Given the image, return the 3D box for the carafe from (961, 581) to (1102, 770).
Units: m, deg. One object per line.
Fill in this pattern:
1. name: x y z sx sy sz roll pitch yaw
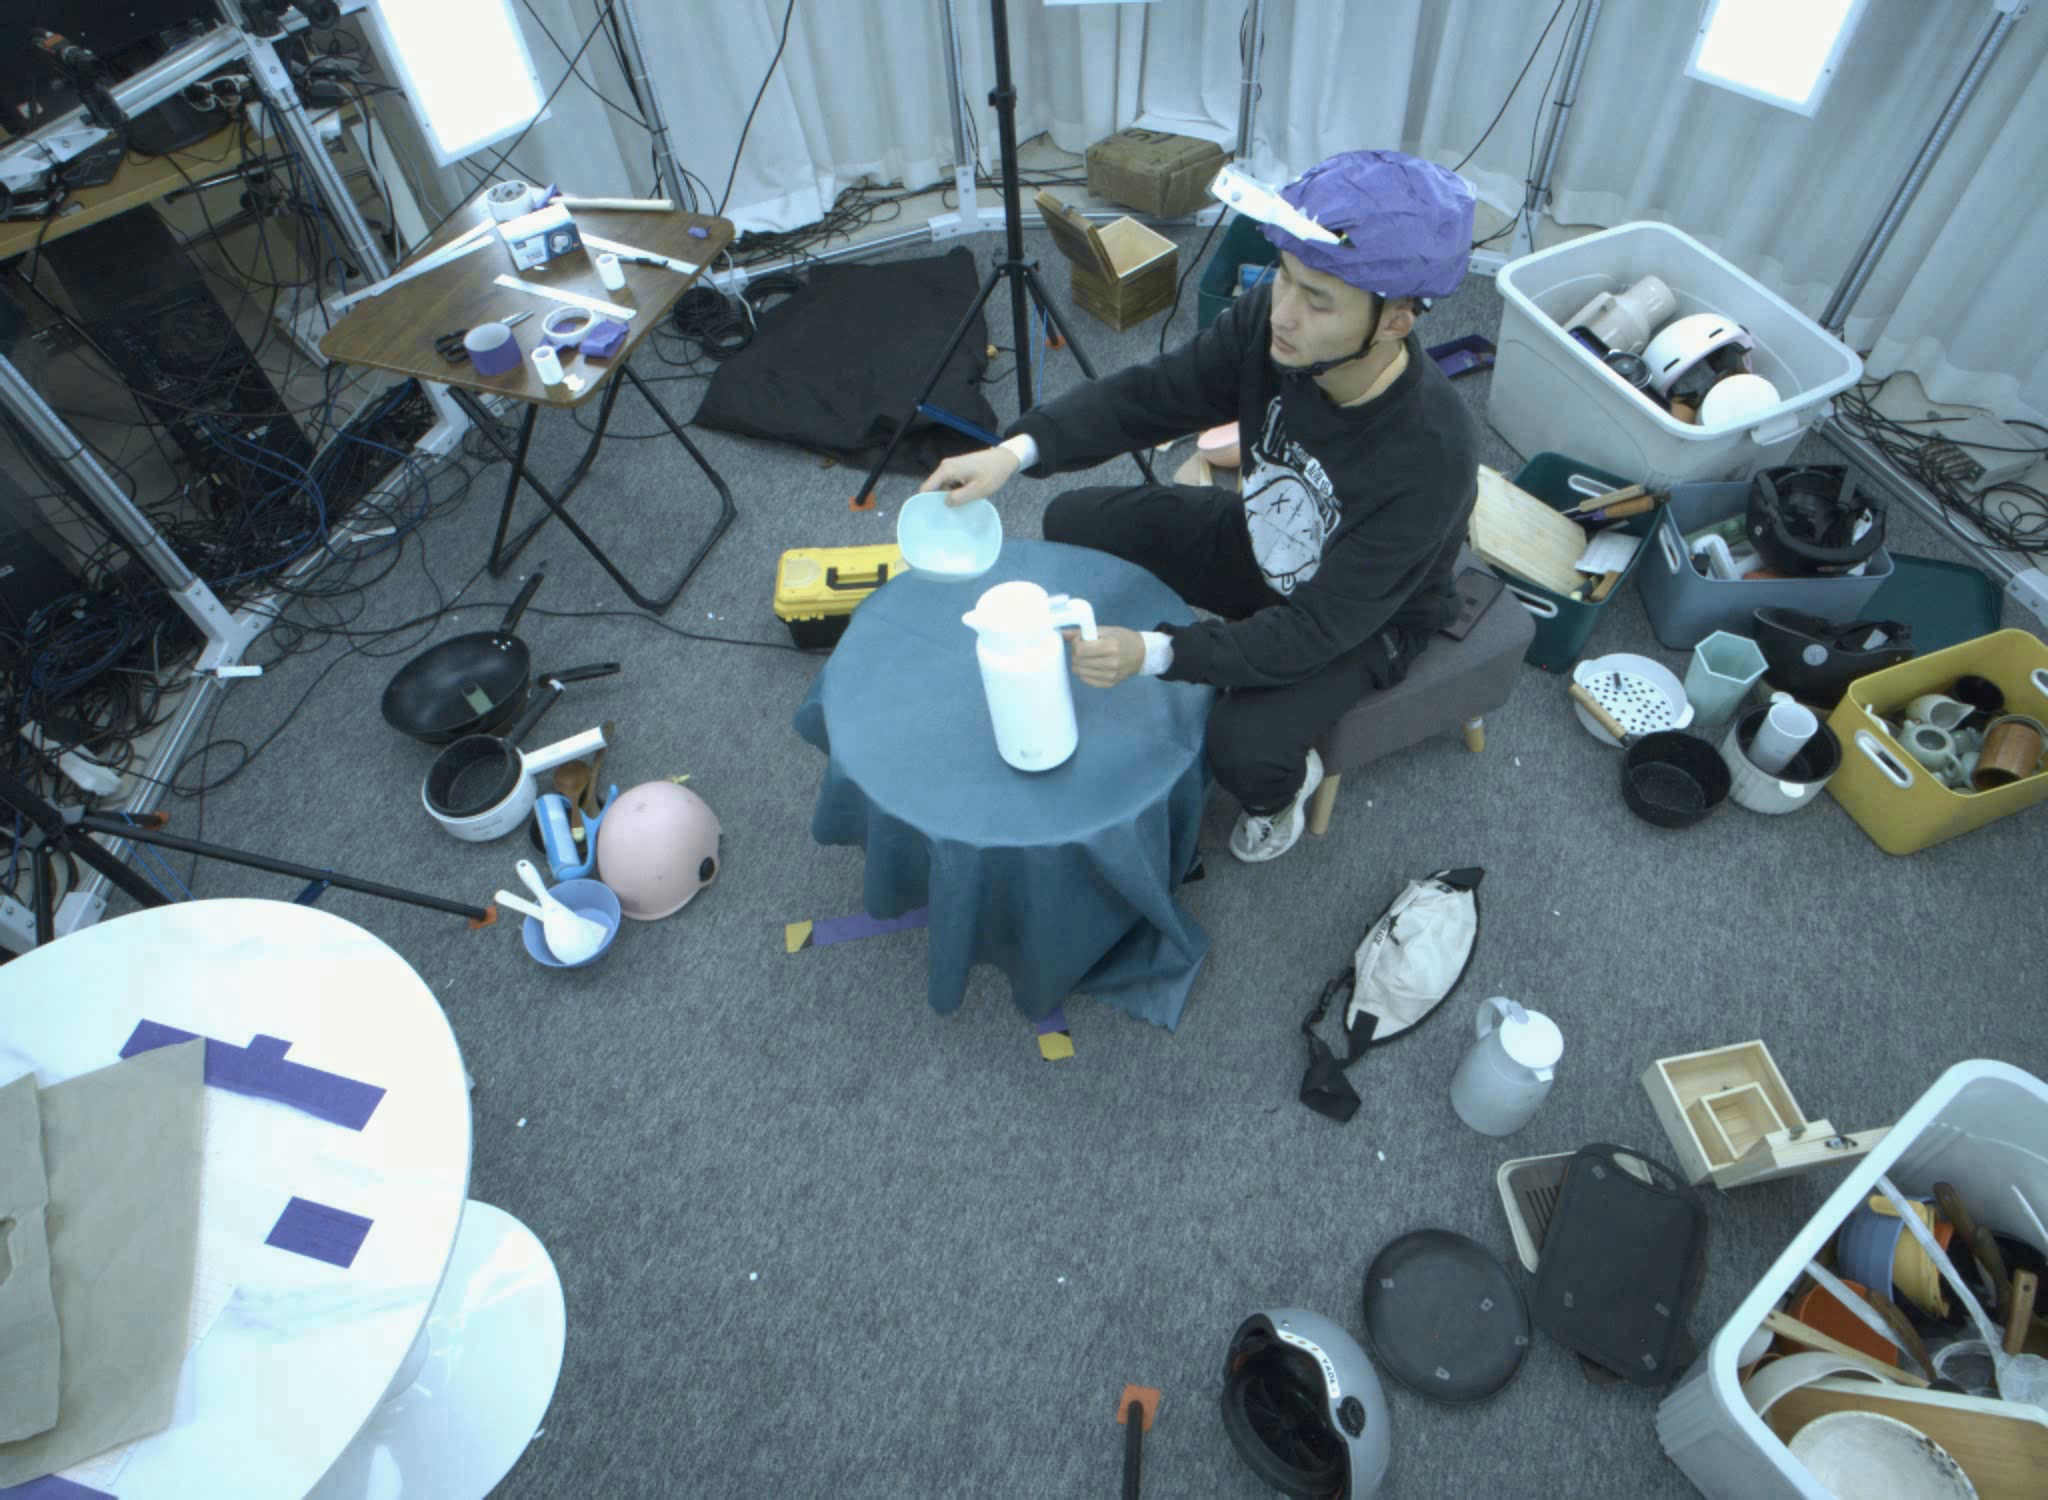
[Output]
1. carafe: 0.019 -0.102 1.684 0.173 0.272 0.122 -10 46 1

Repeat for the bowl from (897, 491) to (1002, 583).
1. bowl: -0.101 -0.276 1.636 0.152 0.059 0.150 4 61 -5
